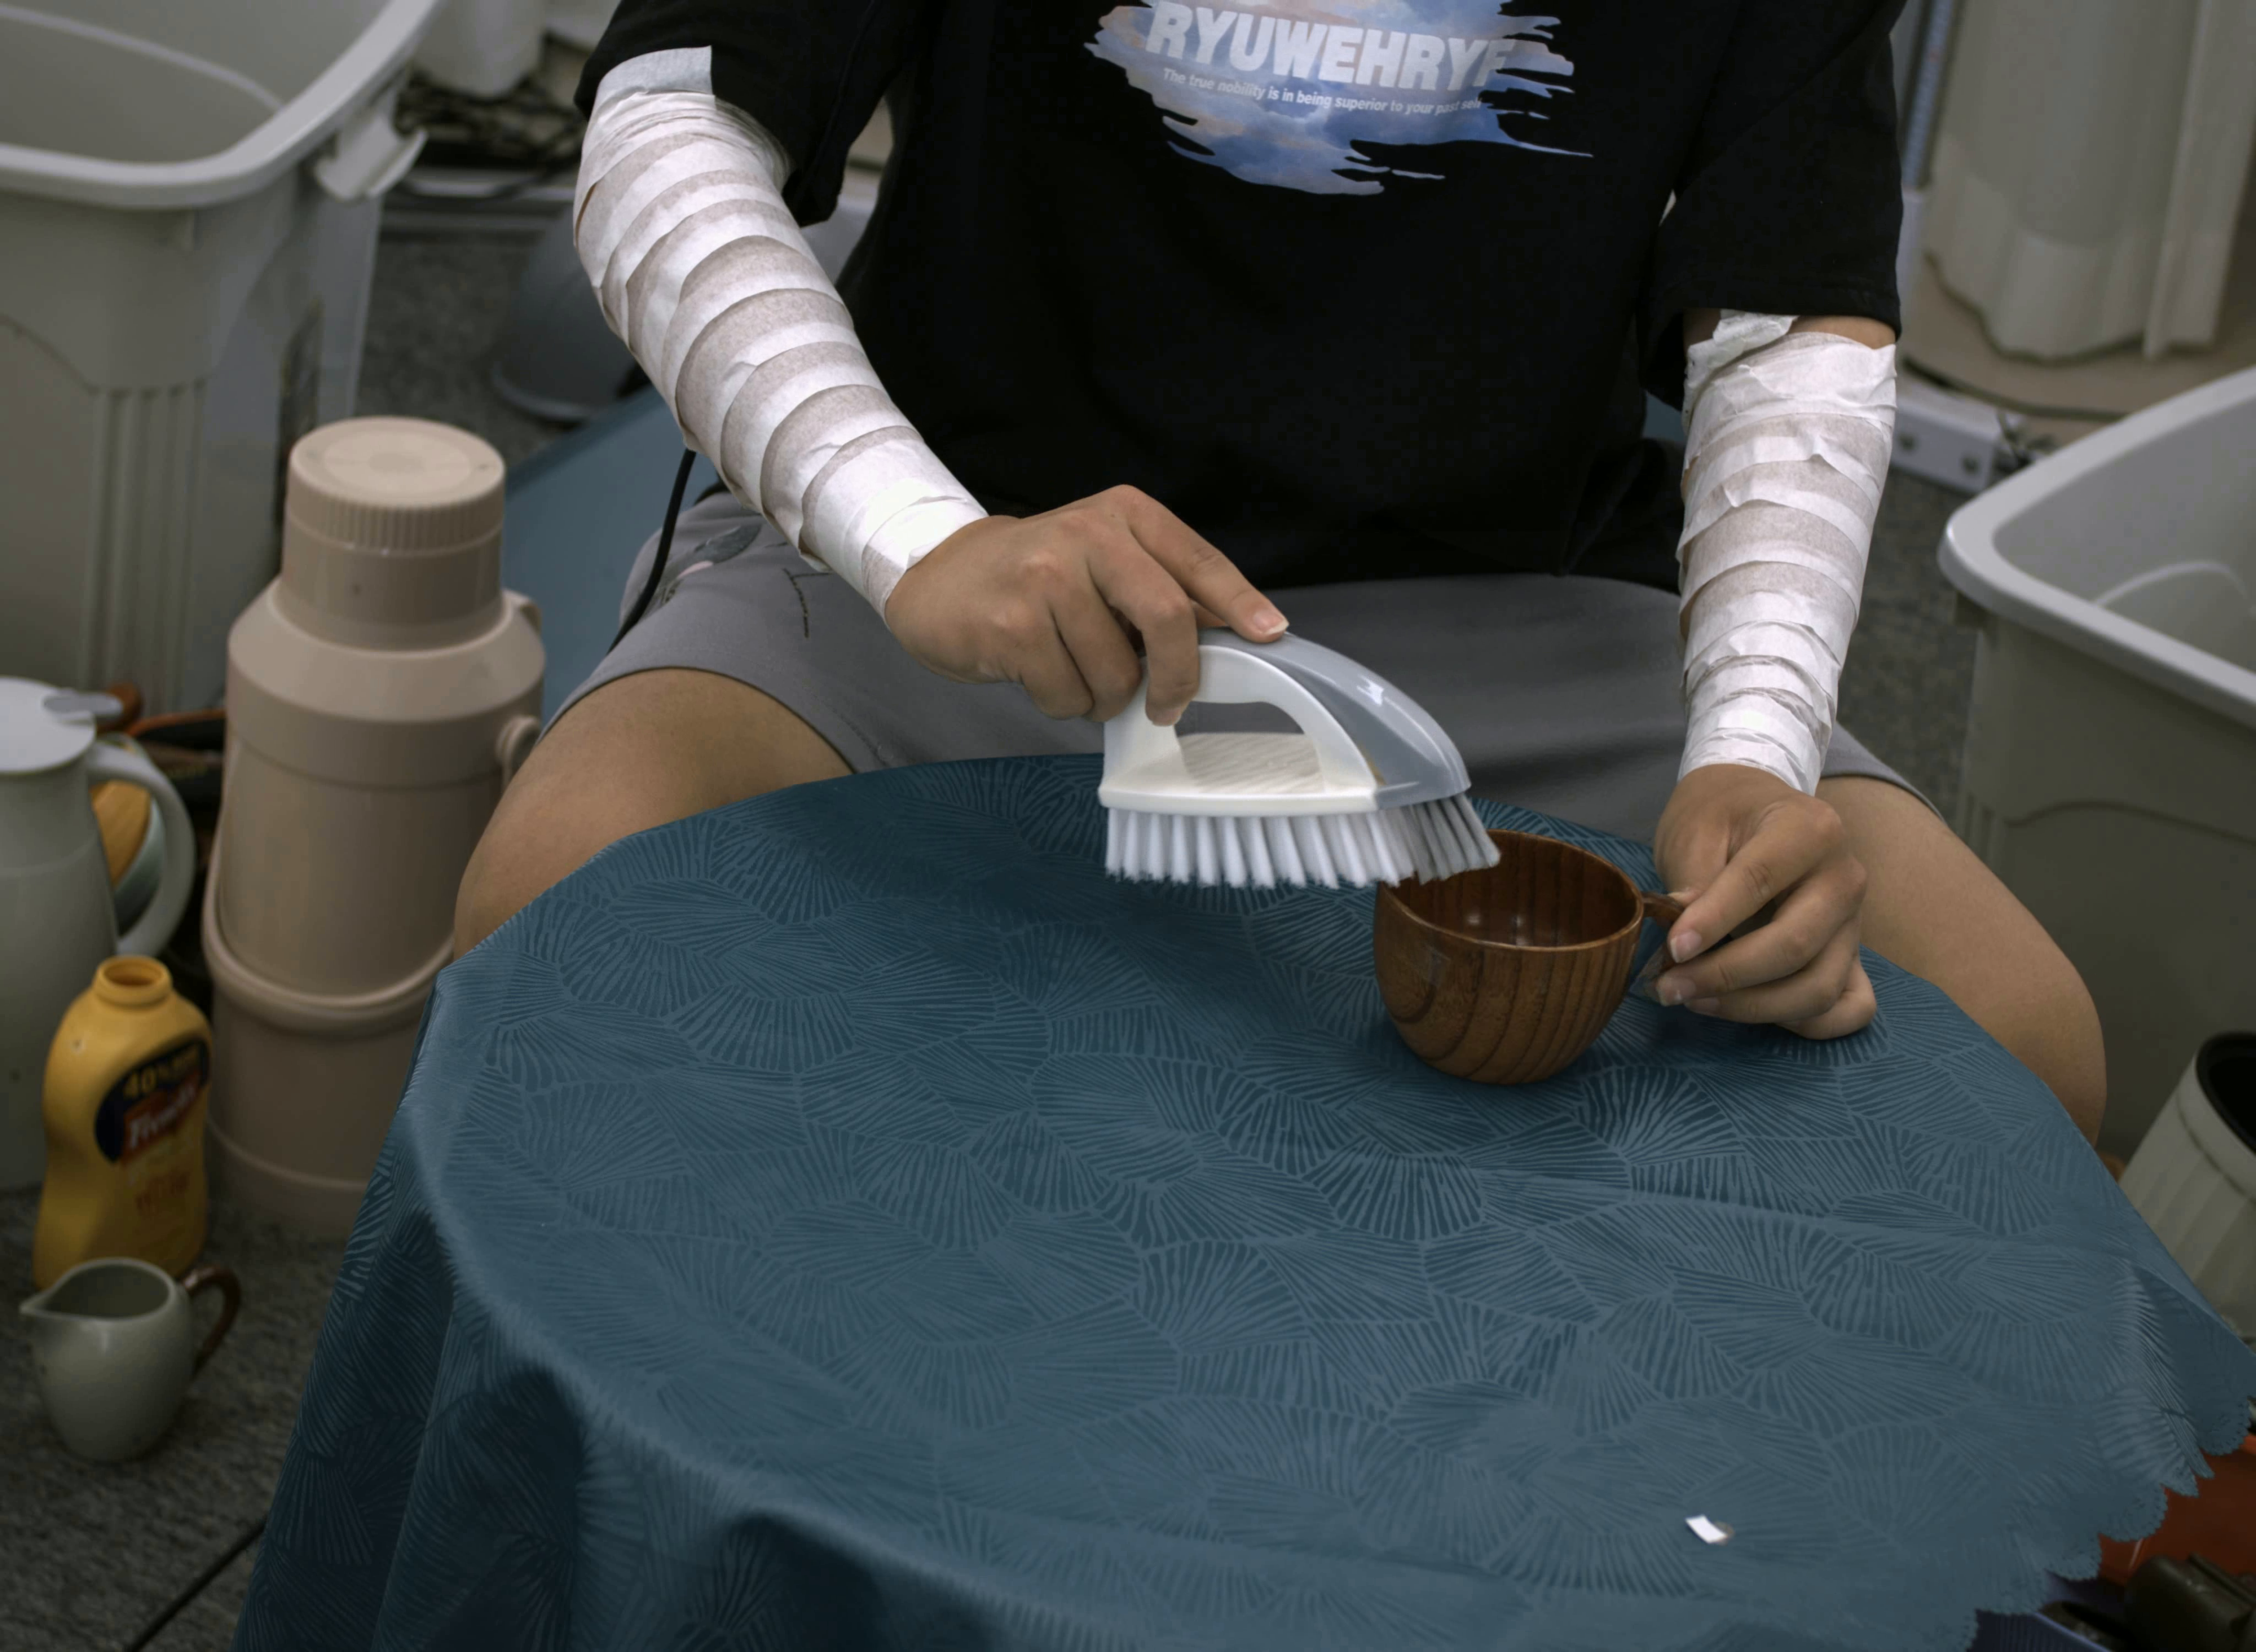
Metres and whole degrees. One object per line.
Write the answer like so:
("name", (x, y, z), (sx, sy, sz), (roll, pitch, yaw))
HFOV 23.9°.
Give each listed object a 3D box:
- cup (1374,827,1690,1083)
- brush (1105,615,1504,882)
("cup", (0.145, 0.050, 1.910), (0.119, 0.067, 0.097), (0, 25, -17))
("brush", (0.059, -0.031, 1.916), (0.176, 0.094, 0.061), (7, 32, 47))
